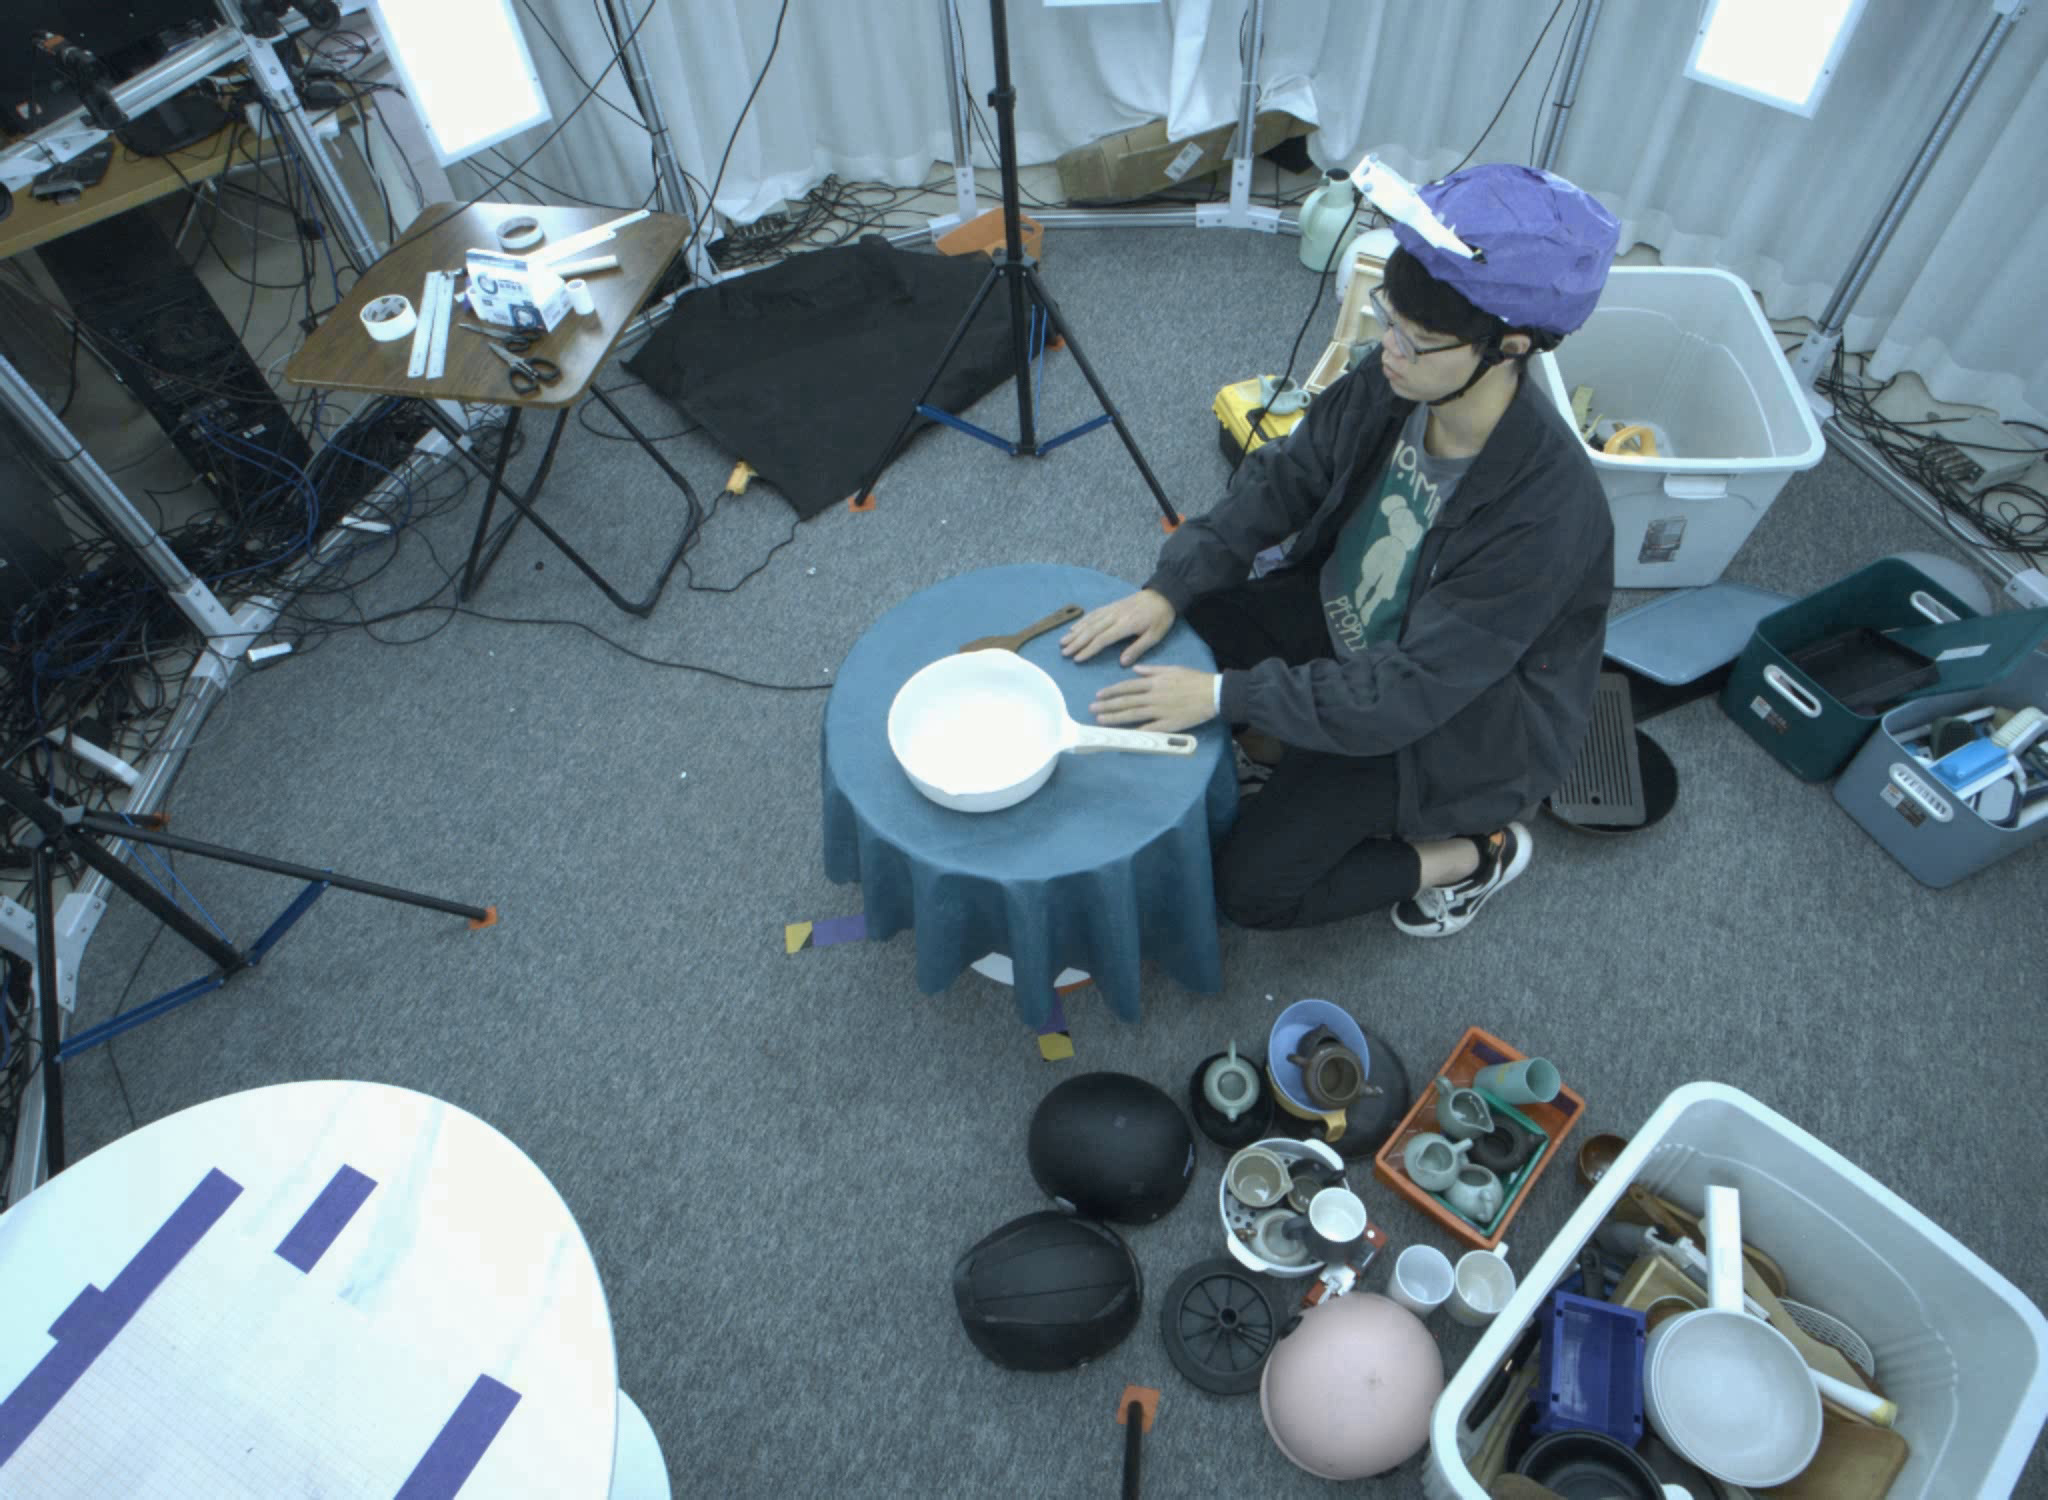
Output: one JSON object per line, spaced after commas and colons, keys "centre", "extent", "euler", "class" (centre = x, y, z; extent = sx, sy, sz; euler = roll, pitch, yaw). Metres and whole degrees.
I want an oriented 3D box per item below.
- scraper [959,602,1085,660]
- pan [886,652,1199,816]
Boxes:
{"centre": [0.002, -0.179, 1.902], "extent": [0.213, 0.011, 0.074], "euler": [-28, 60, -18], "class": "scraper"}
{"centre": [0.024, -0.006, 1.722], "extent": [0.432, 0.103, 0.262], "euler": [9, 54, 8], "class": "pan"}
